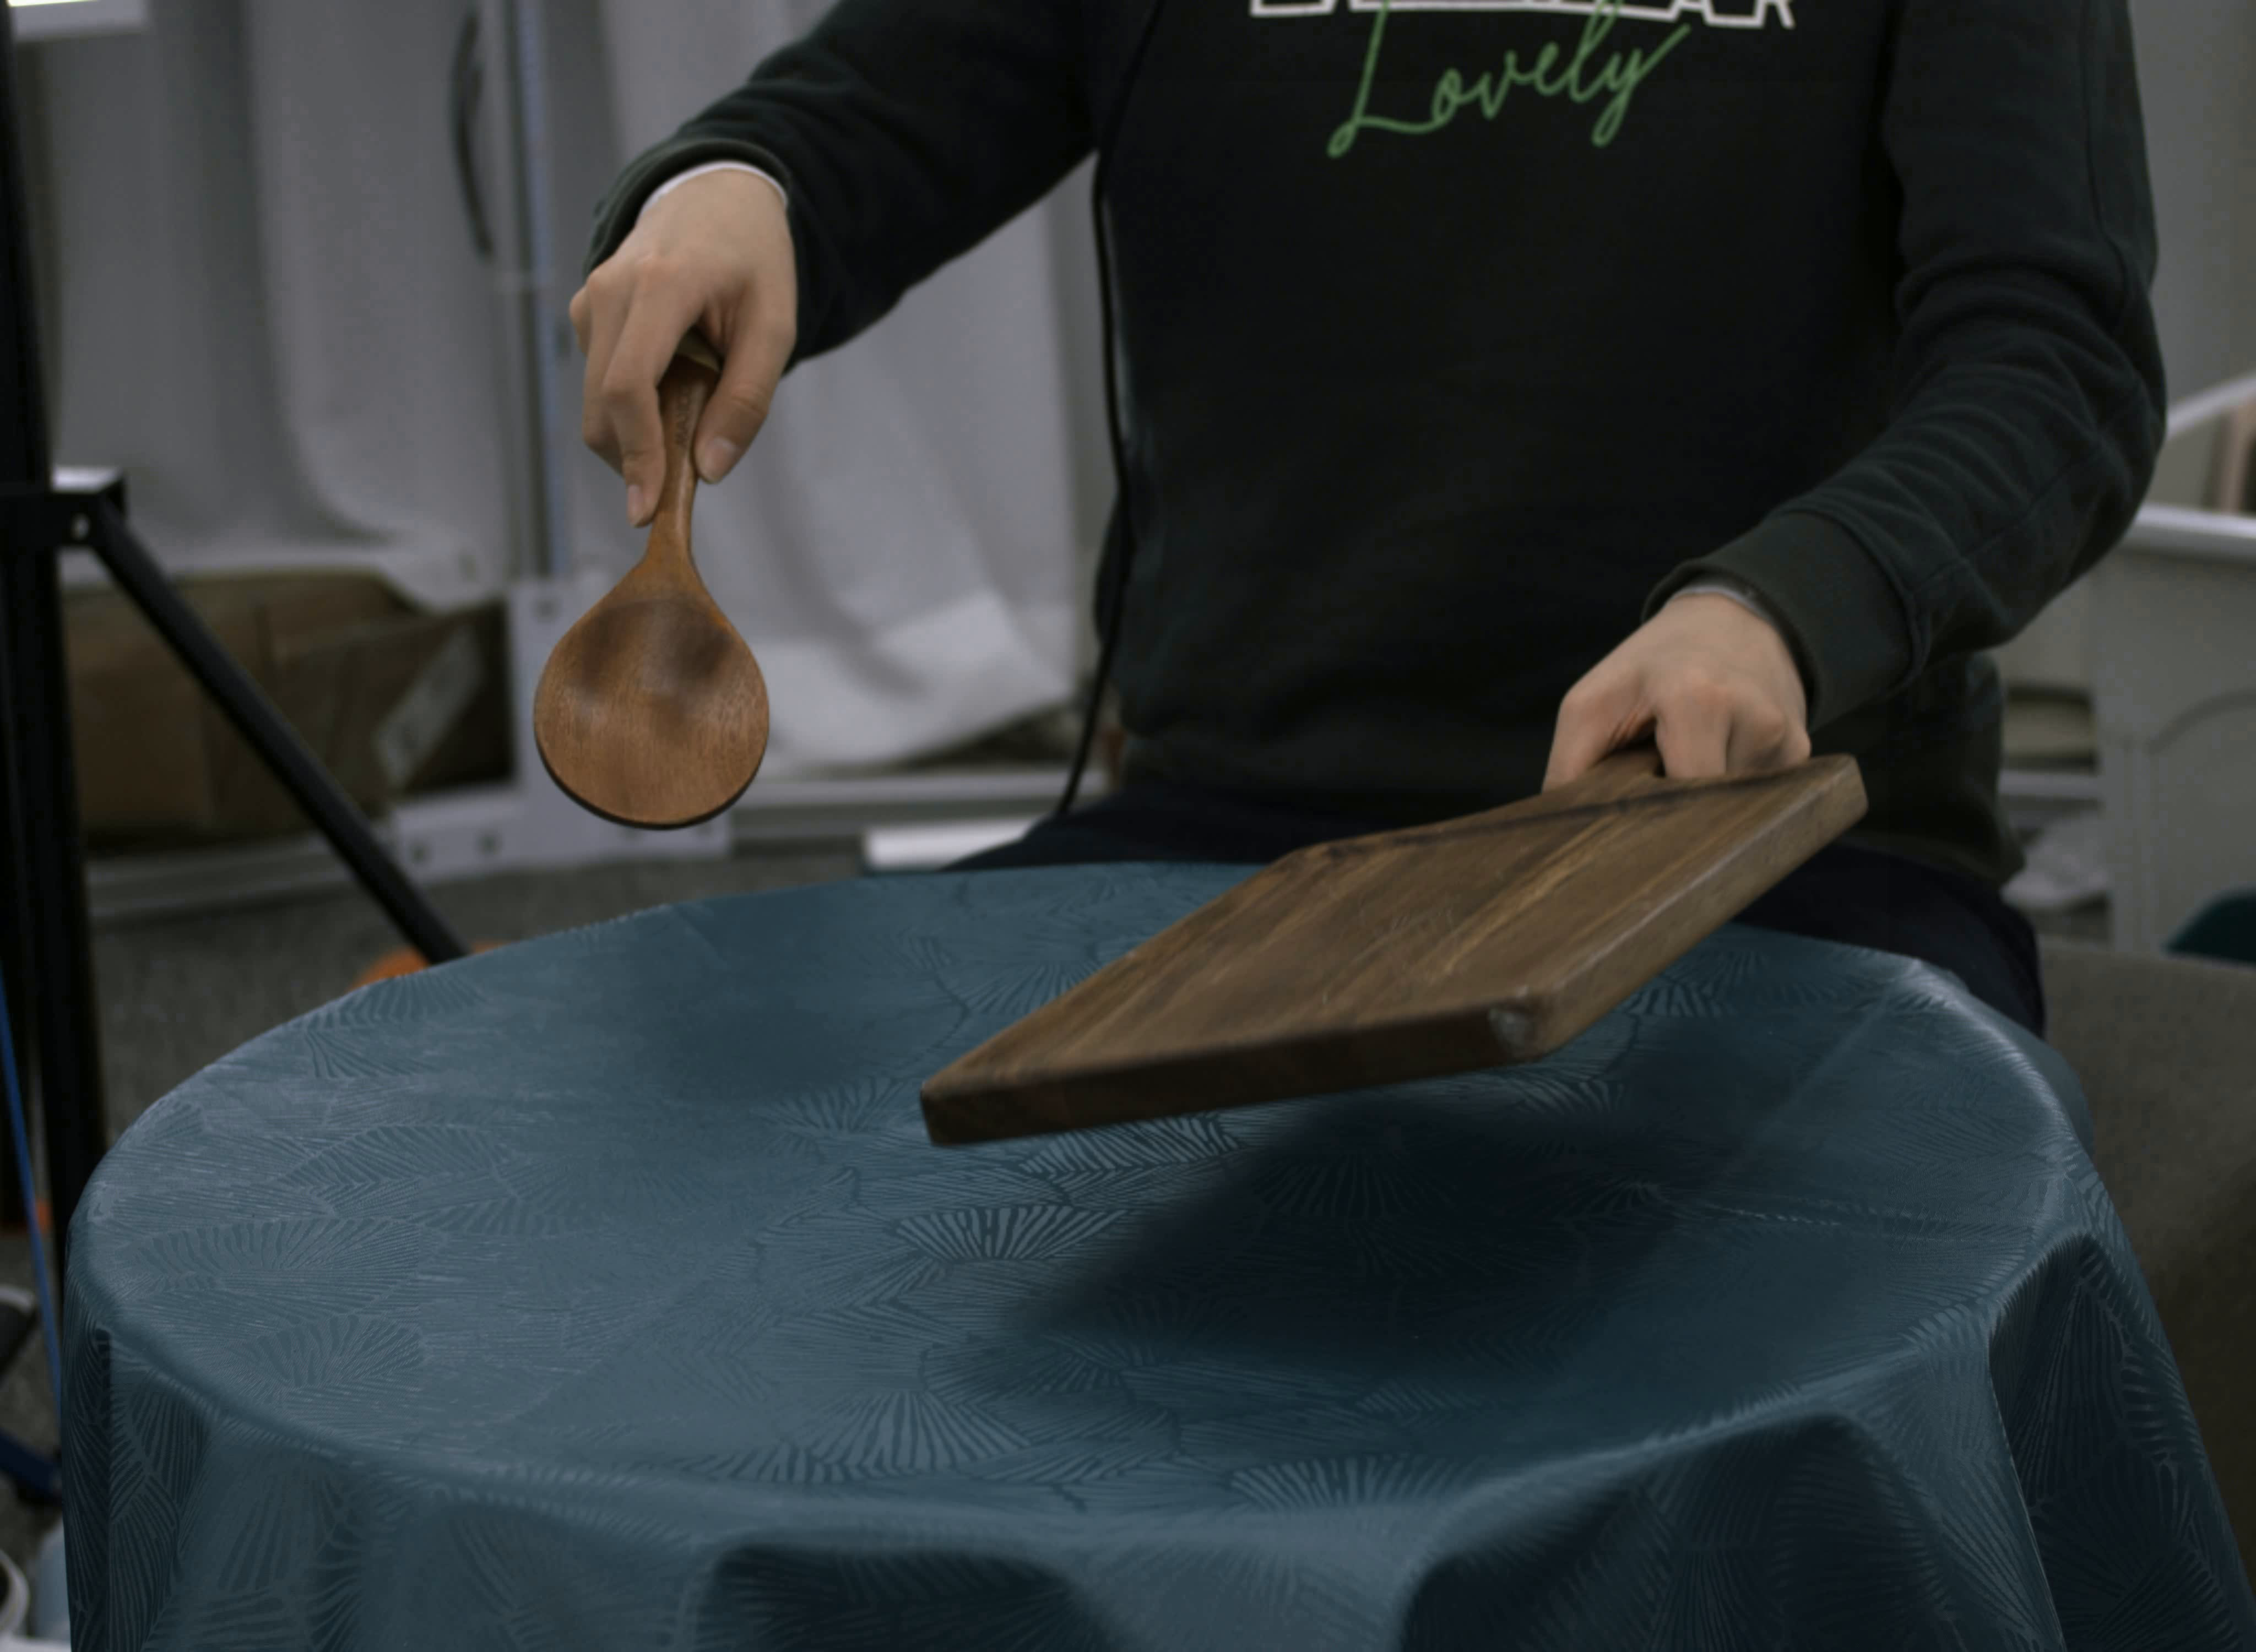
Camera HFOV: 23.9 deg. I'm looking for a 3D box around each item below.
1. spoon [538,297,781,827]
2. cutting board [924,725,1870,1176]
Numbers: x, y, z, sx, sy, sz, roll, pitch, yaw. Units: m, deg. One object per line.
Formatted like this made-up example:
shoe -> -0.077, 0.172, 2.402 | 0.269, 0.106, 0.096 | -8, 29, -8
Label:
spoon -> -0.144, -0.084, 1.703 | 0.075, 0.017, 0.218 | 4, 53, -3
cutting board -> 0.103, 0.025, 1.544 | 0.204, 0.023, 0.346 | -12, 10, 31
